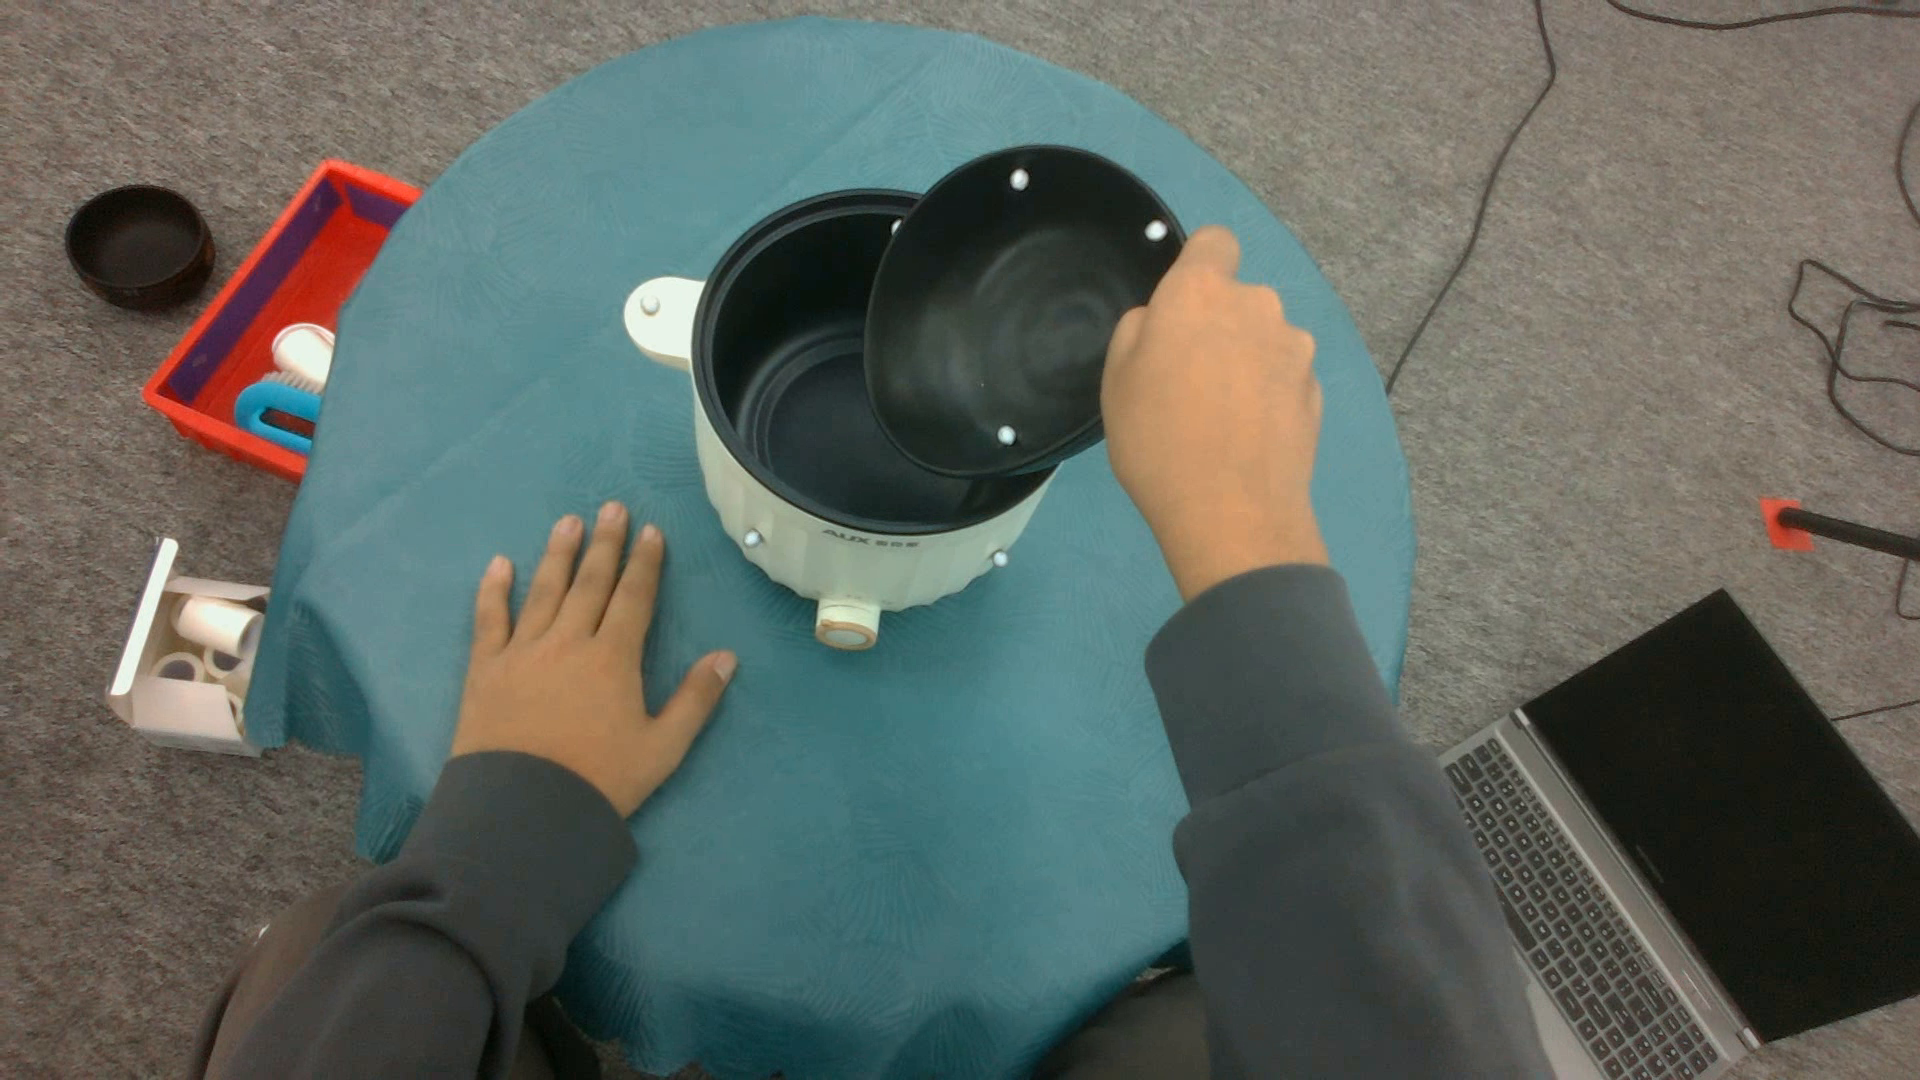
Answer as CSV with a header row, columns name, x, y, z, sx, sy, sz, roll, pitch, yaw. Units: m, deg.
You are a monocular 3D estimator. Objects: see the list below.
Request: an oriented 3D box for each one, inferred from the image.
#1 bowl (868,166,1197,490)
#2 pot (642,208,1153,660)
name,x,y,z,sx,sy,sz,roll,pitch,yaw
bowl,0.037,-0.090,0.610,0.067,0.169,0.137,5,75,-49
pot,-0.033,-0.048,0.694,0.240,0.142,0.191,5,61,-5
